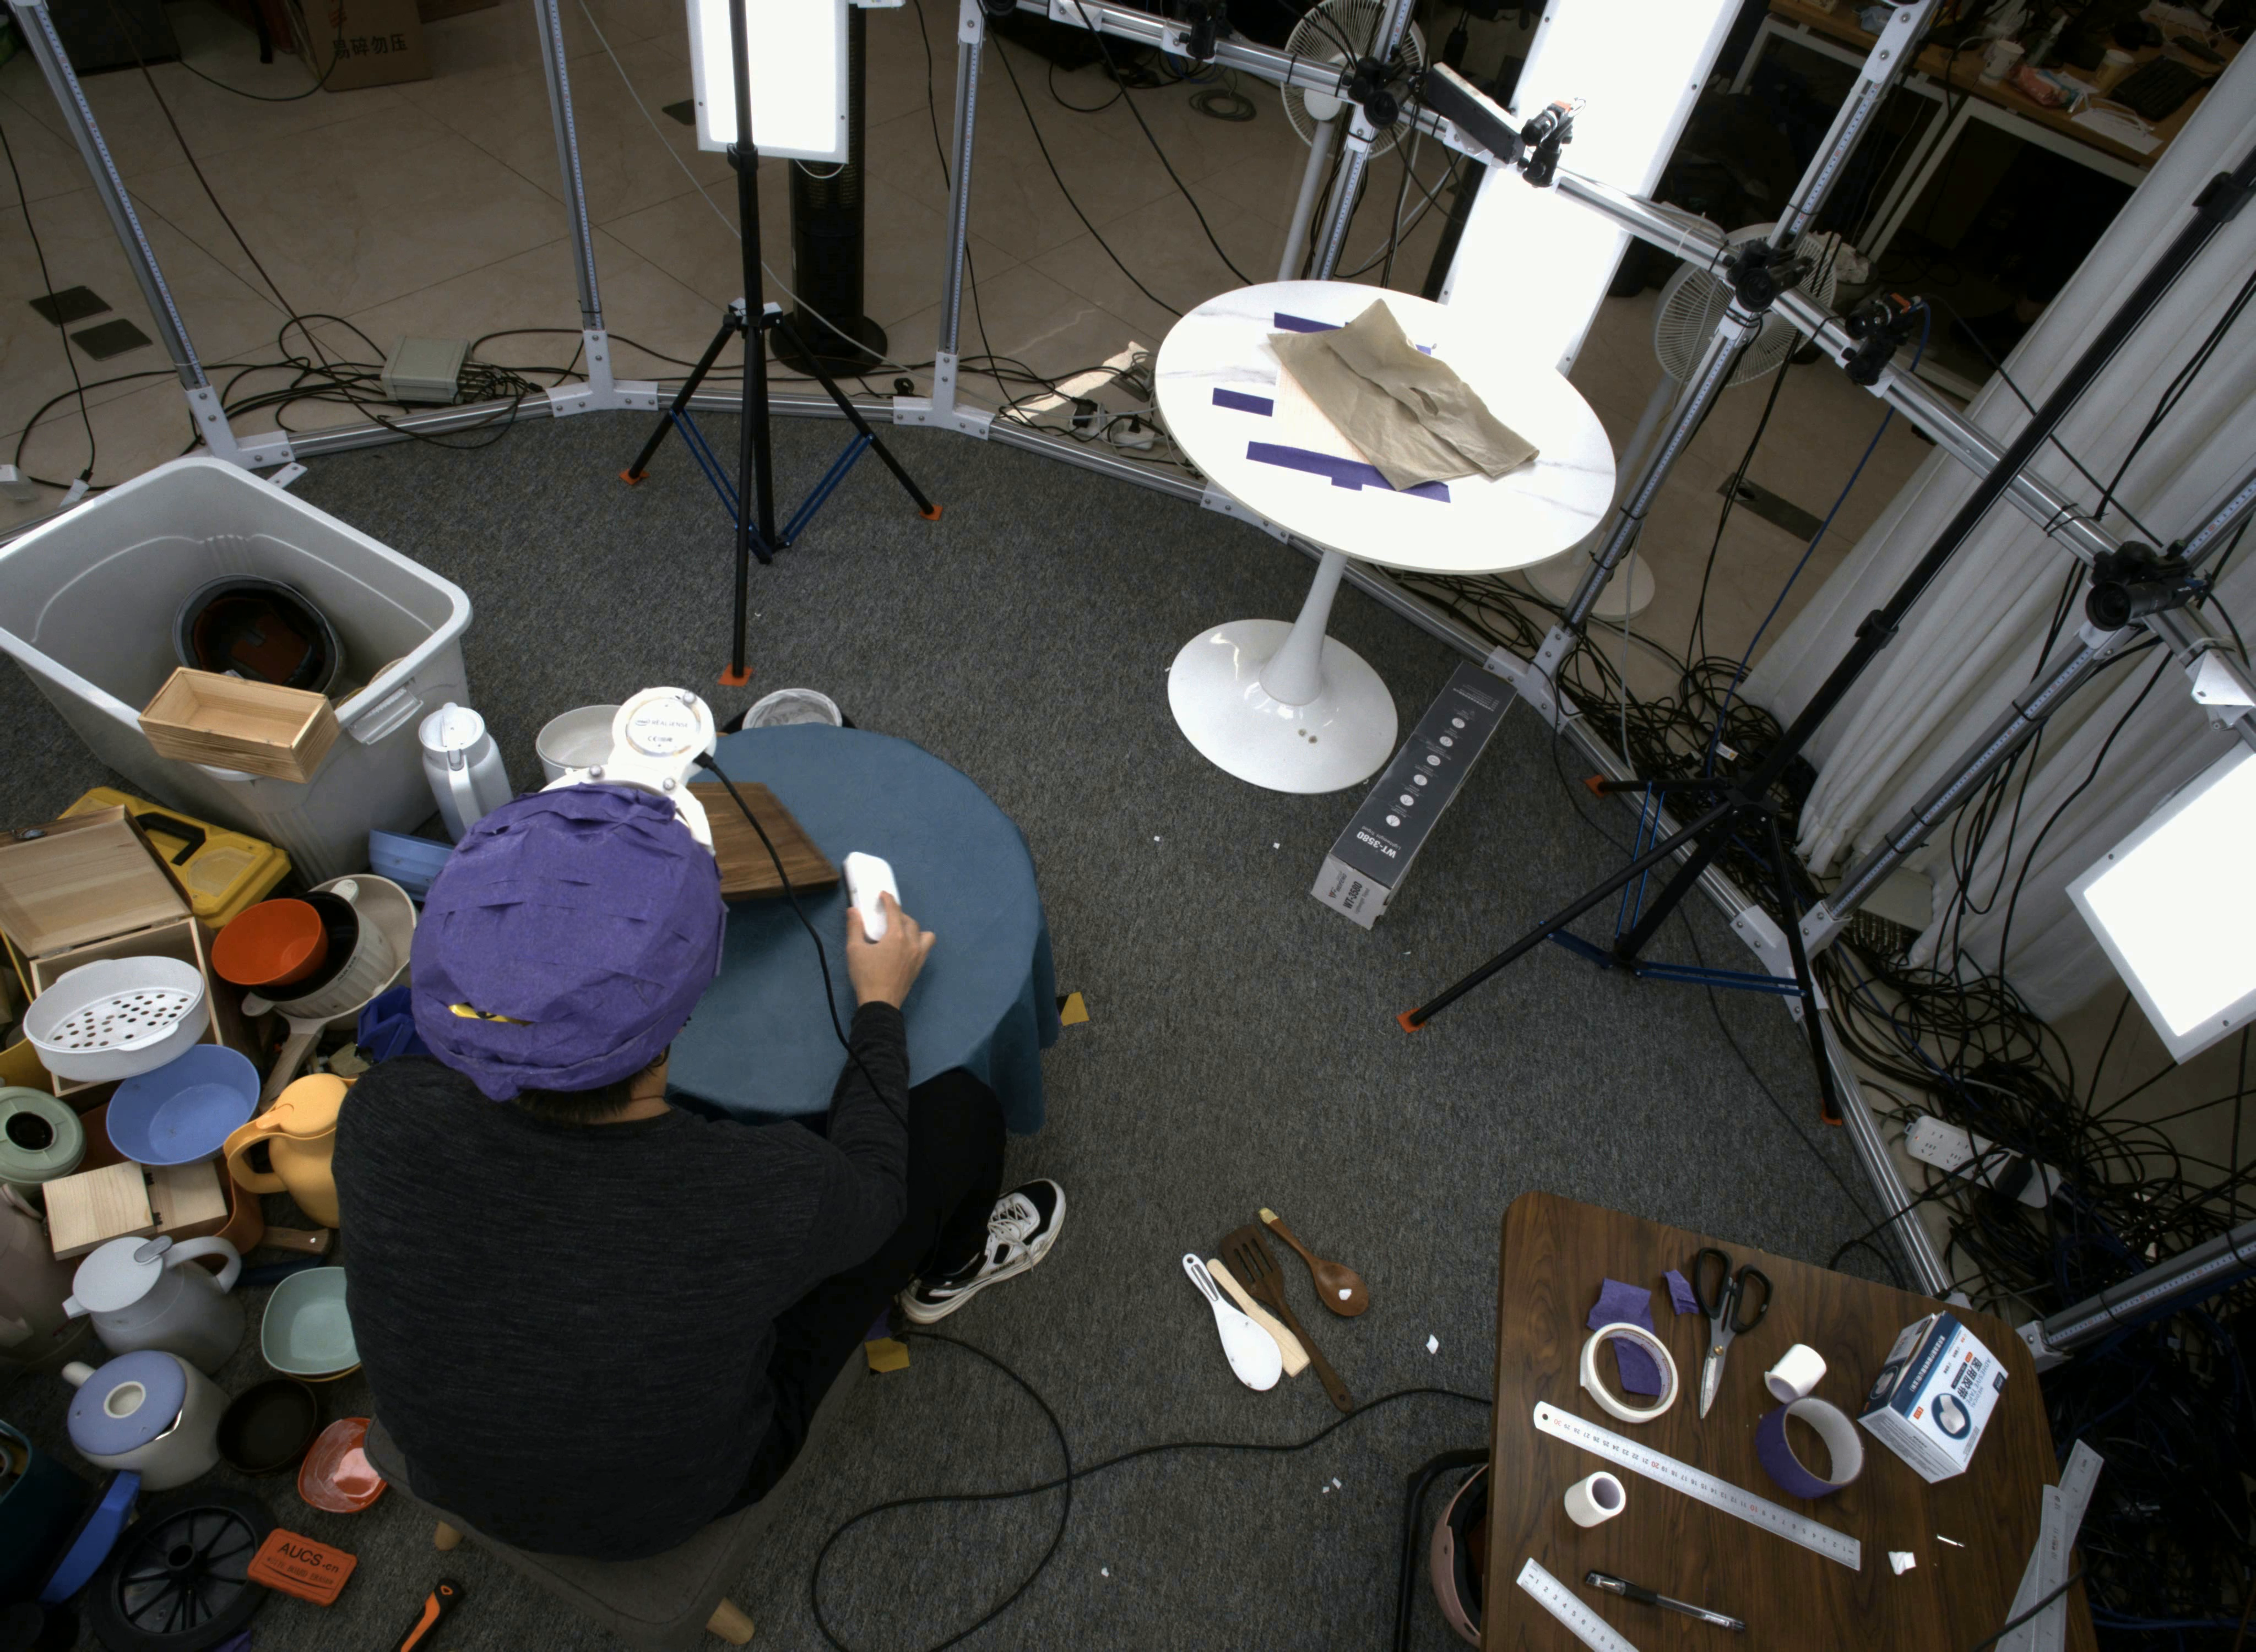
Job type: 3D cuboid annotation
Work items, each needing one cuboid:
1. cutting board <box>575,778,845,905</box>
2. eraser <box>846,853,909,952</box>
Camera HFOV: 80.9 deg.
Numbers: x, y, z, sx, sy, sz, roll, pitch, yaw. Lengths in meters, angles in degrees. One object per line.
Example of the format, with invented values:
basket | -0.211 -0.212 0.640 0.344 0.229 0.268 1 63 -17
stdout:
cutting board | -0.519 0.014 1.552 0.196 0.023 0.358 45 24 20
eraser | -0.312 0.091 1.611 0.065 0.034 0.128 20 42 -45
